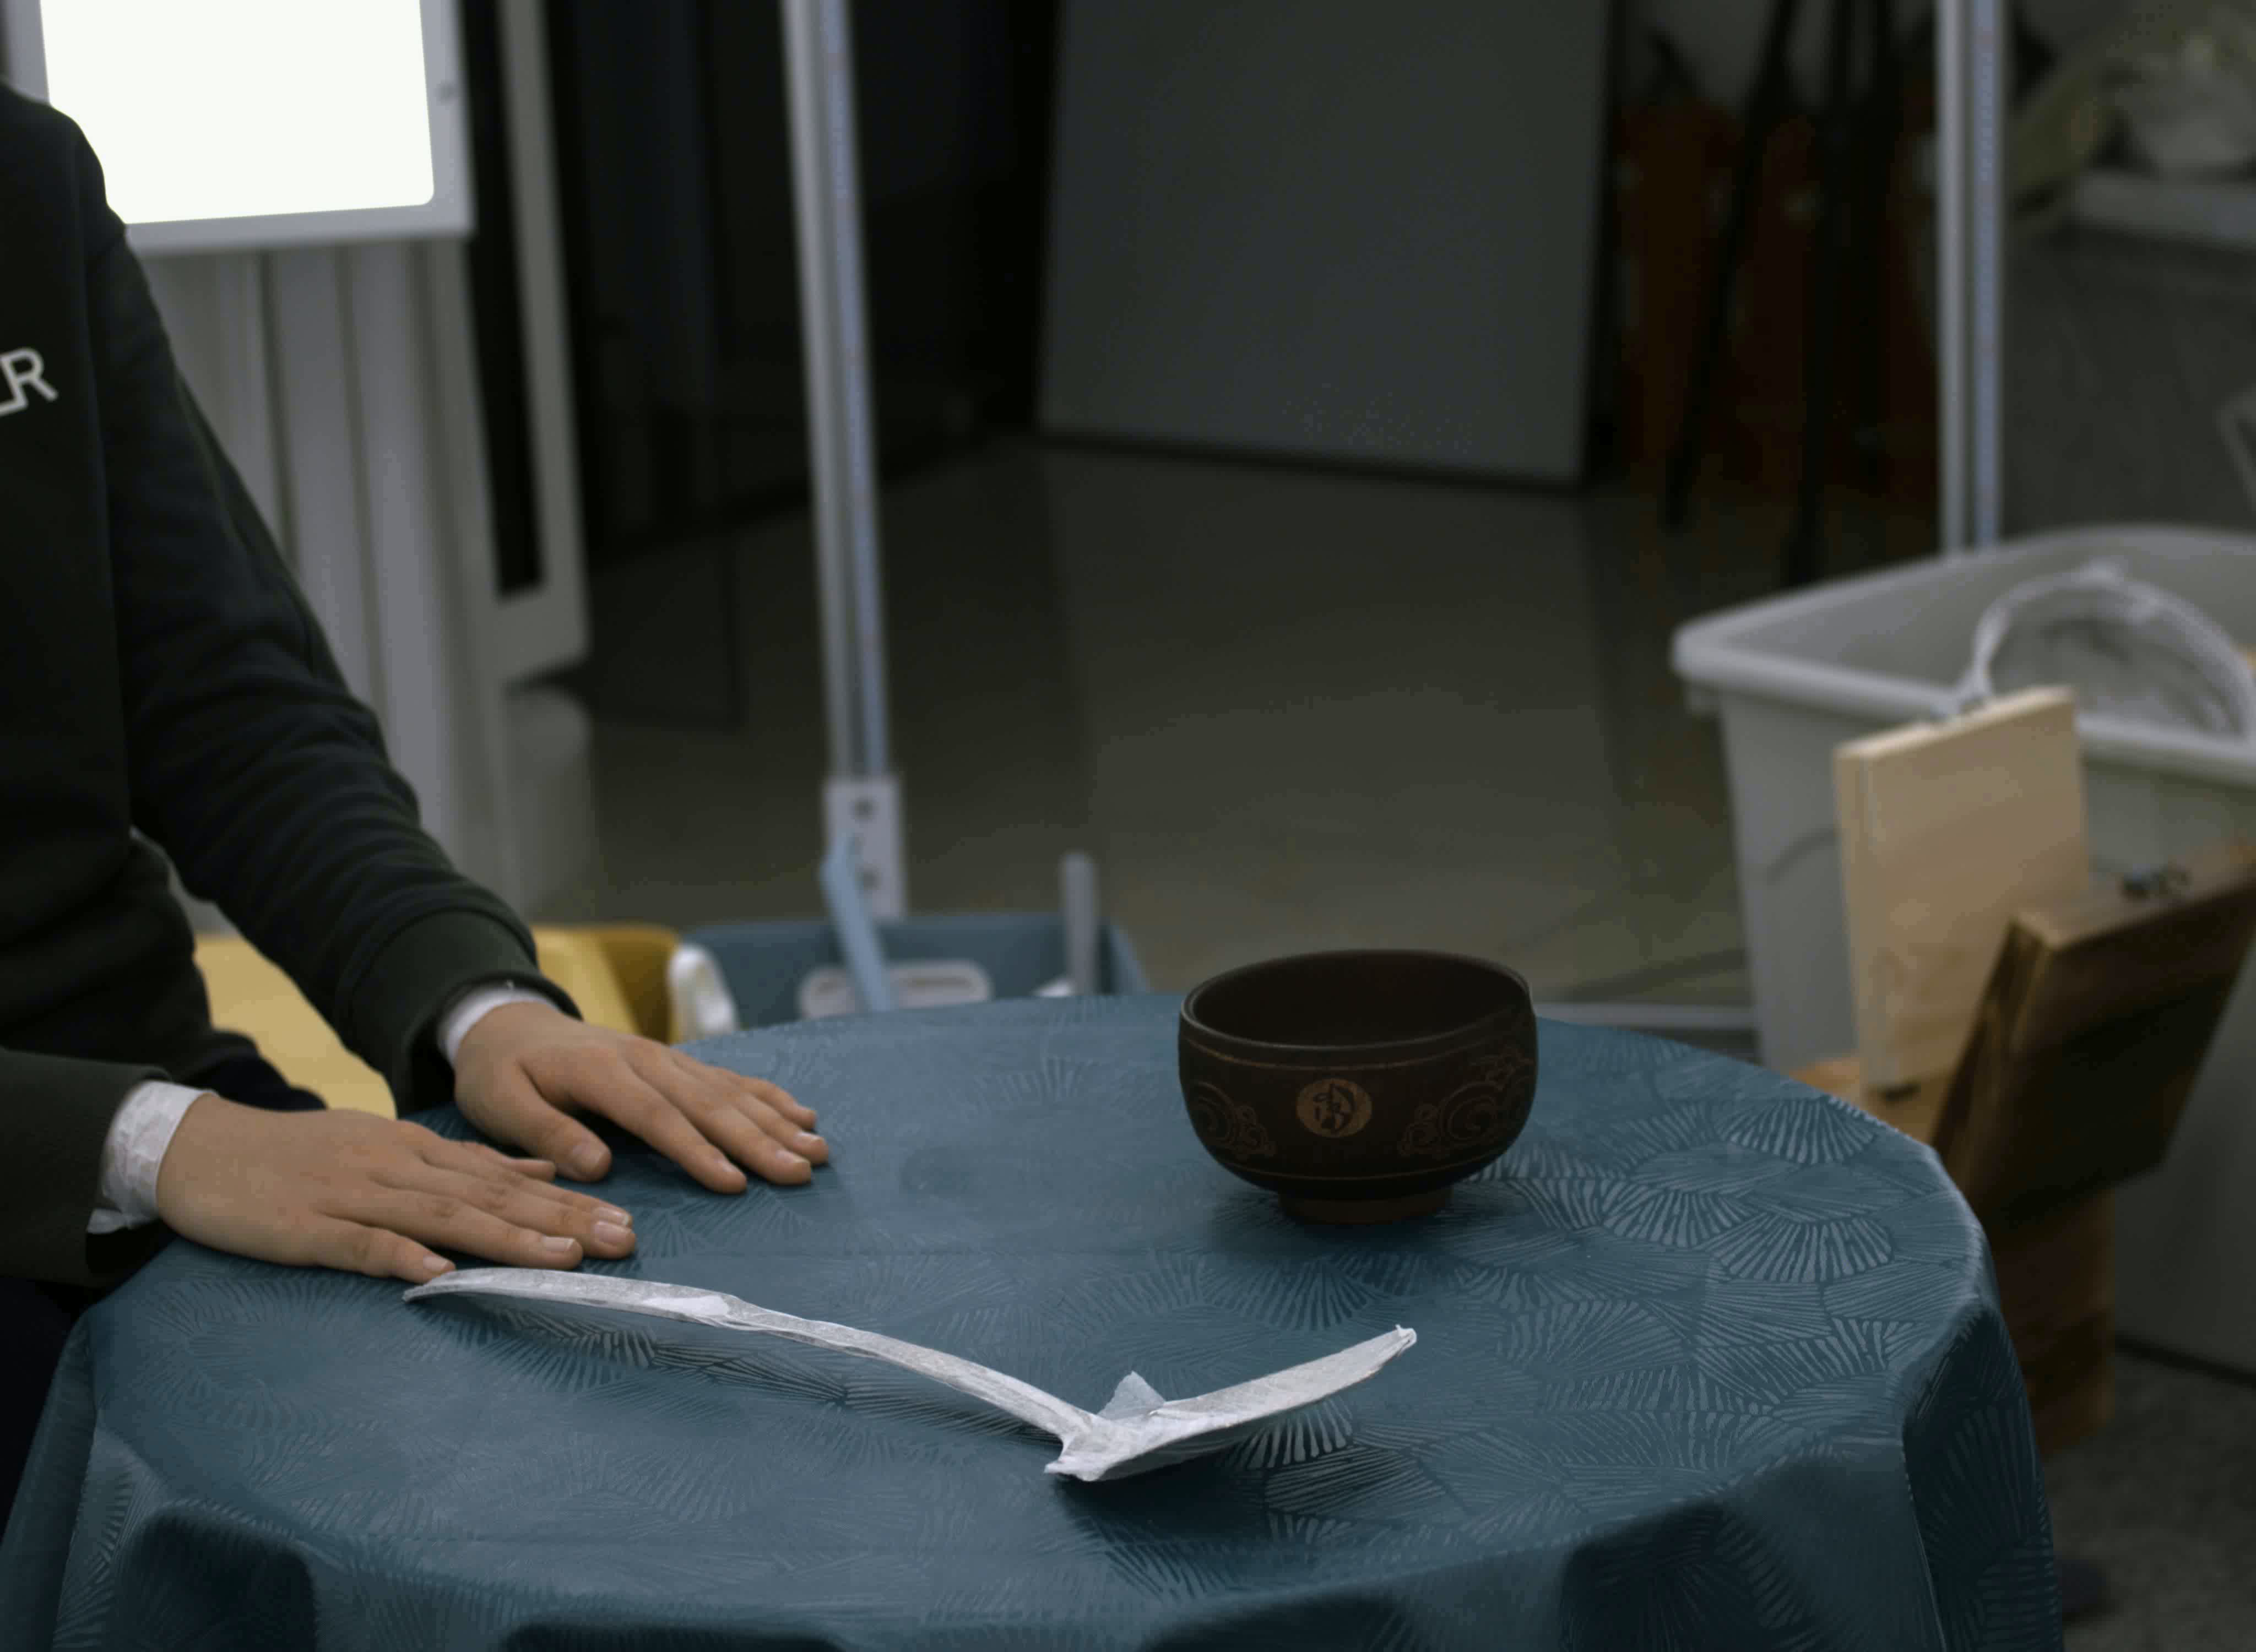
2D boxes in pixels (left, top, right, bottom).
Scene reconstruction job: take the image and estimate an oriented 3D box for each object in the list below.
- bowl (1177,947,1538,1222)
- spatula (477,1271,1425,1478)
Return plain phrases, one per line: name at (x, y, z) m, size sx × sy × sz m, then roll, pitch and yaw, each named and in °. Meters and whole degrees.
bowl at (0.075, 0.087, 1.739) m, size 0.116 × 0.070 × 0.118 m, roll -4°, pitch 12°, yaw 0°
spatula at (-0.073, 0.150, 1.596) m, size 0.368 × 0.045 × 0.097 m, roll 8°, pitch 20°, yaw 40°
